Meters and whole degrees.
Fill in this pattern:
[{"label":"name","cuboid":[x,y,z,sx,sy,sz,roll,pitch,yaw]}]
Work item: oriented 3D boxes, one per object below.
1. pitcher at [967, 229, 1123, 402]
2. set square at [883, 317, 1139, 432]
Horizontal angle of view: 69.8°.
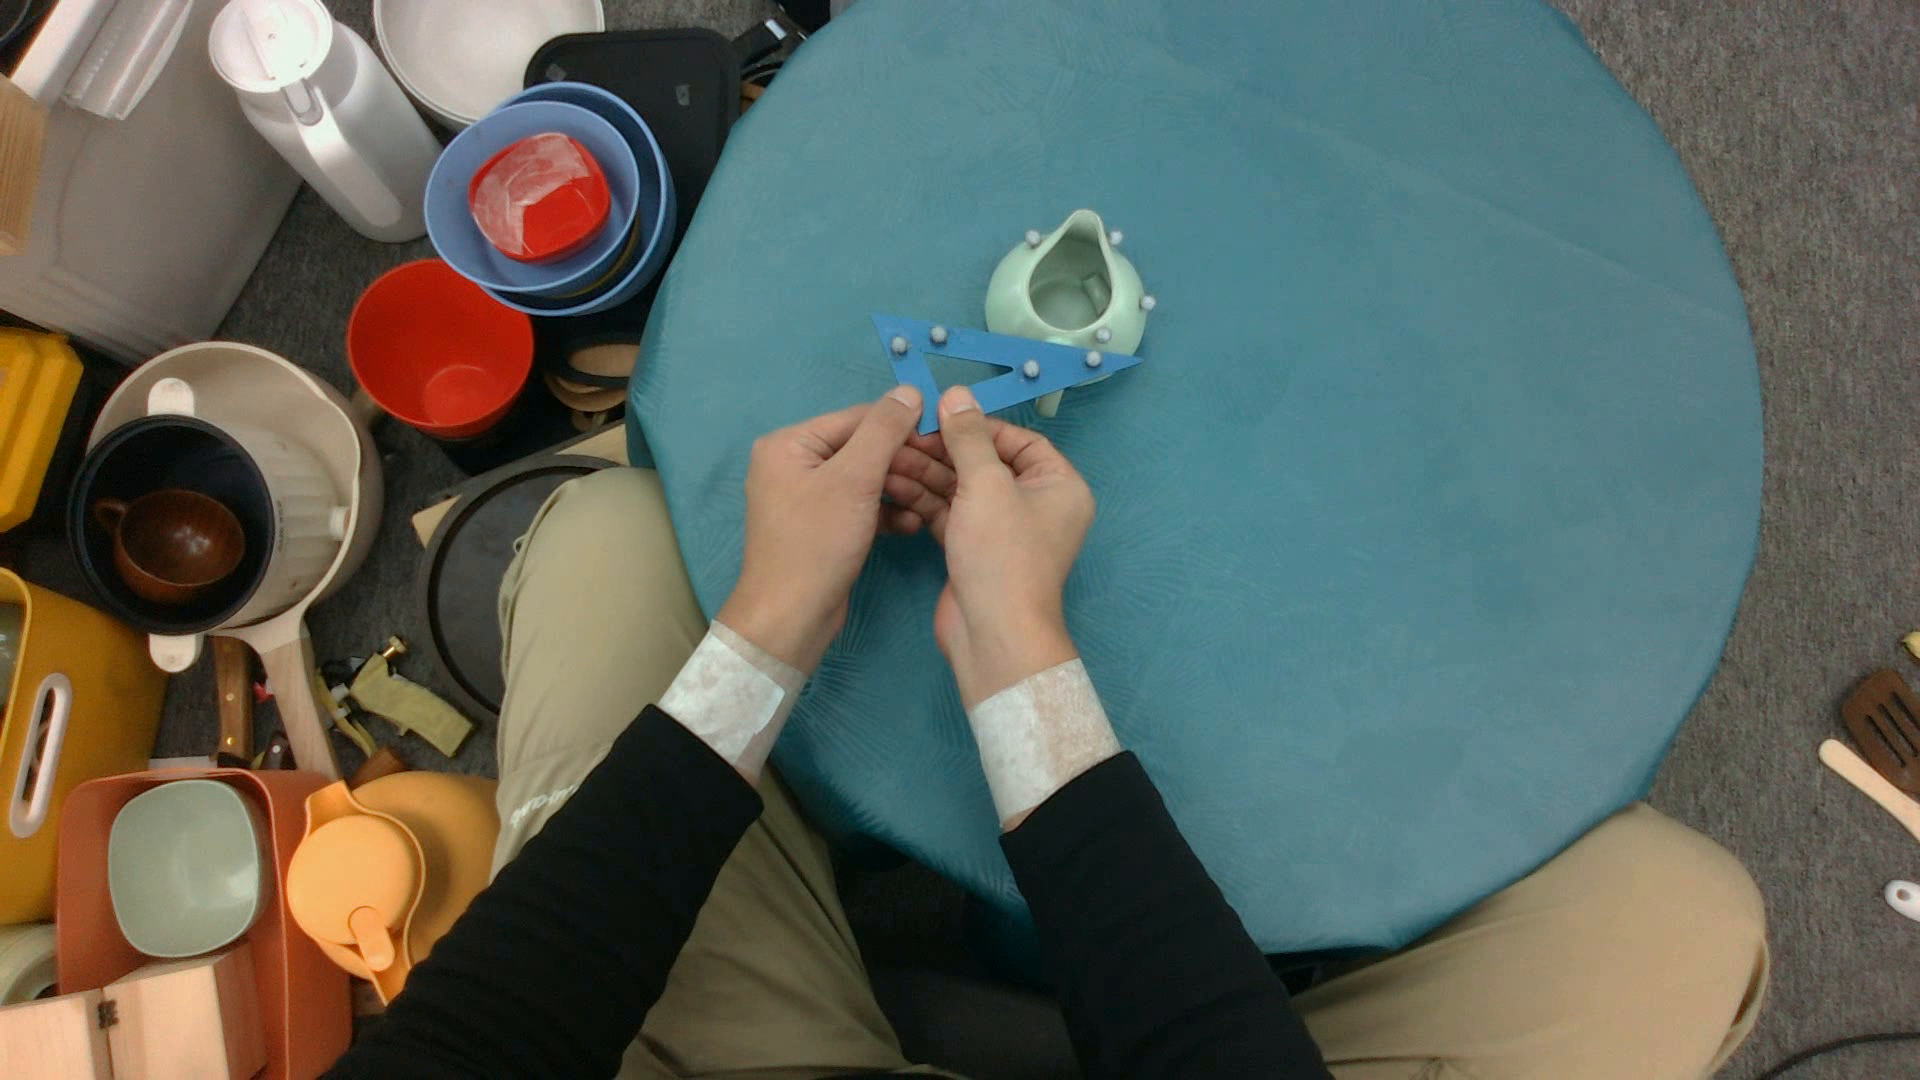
[{"label":"pitcher","cuboid":[0.043,-0.110,0.714,0.086,0.060,0.108,30,61,-5]},{"label":"set square","cuboid":[0.021,-0.072,0.674,0.132,0.006,0.061,13,69,-1]}]
